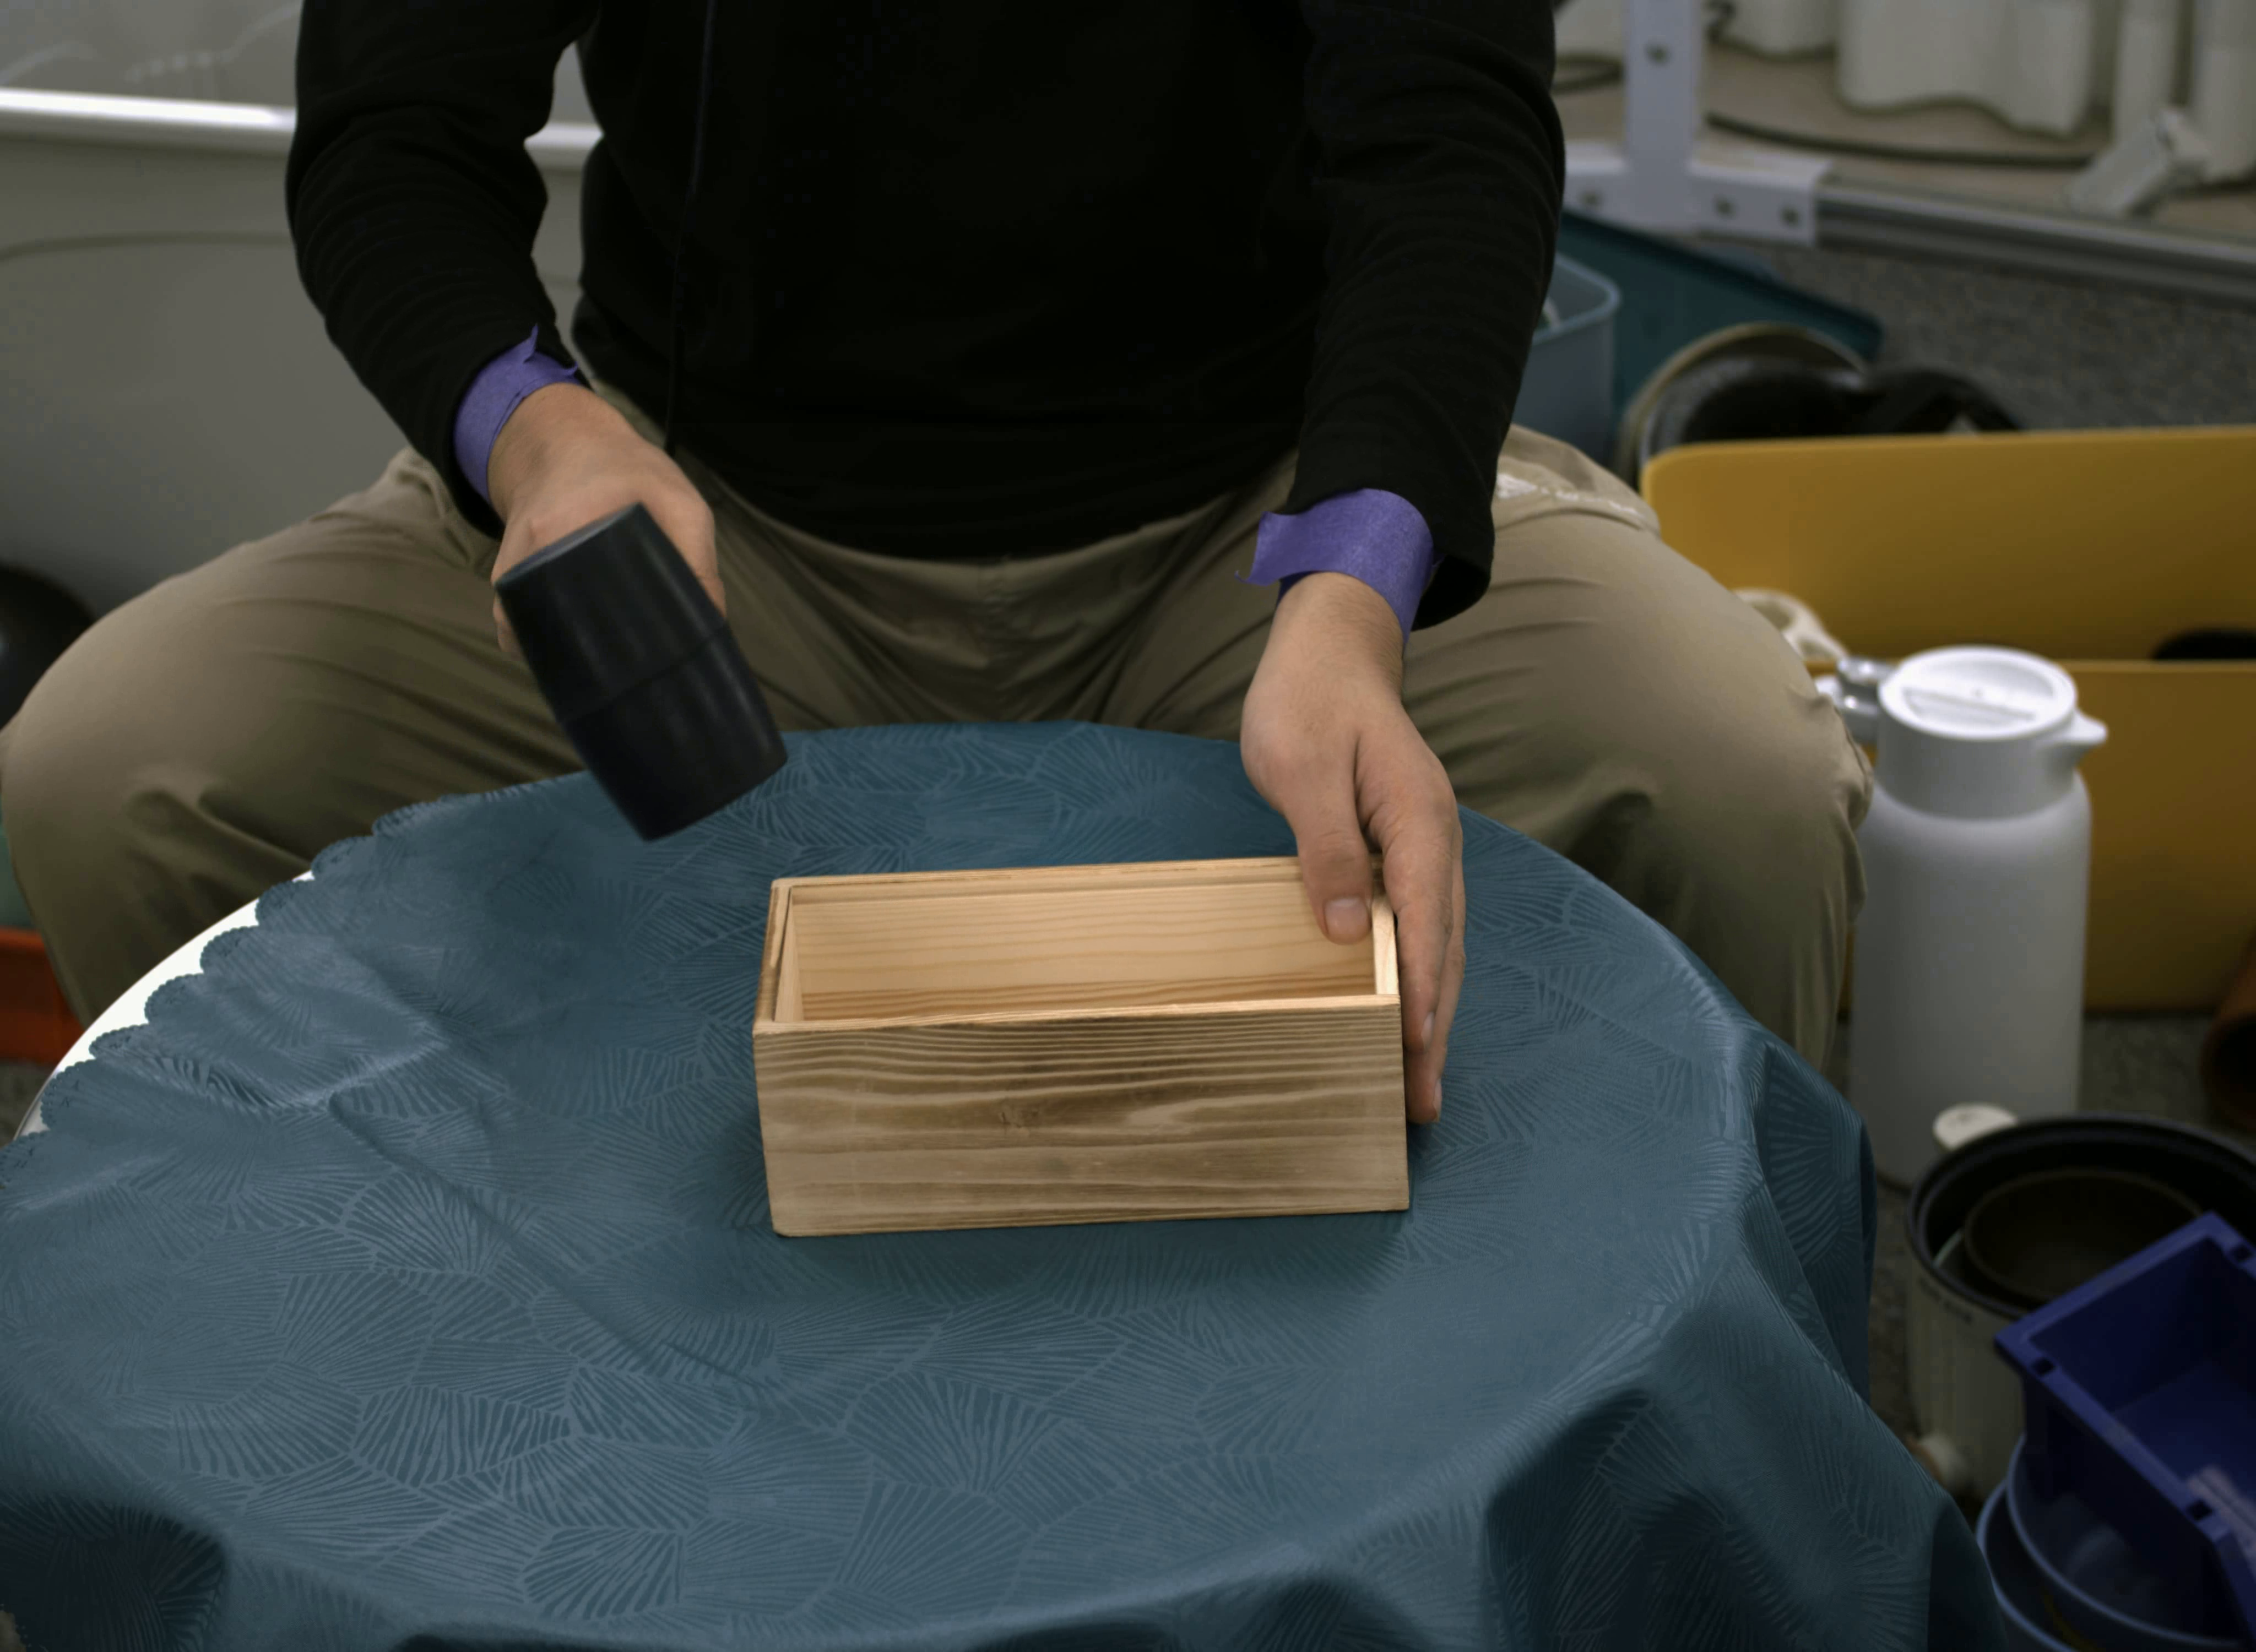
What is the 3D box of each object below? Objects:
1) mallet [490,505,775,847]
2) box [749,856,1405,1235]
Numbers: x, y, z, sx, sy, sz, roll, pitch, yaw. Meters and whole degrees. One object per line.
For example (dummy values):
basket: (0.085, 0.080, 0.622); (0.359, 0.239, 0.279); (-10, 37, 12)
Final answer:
mallet: (-0.164, -0.070, 1.943); (0.064, 0.102, 0.340); (-25, 8, 2)
box: (-0.015, 0.072, 1.870); (0.210, 0.079, 0.109); (-2, 26, 1)
